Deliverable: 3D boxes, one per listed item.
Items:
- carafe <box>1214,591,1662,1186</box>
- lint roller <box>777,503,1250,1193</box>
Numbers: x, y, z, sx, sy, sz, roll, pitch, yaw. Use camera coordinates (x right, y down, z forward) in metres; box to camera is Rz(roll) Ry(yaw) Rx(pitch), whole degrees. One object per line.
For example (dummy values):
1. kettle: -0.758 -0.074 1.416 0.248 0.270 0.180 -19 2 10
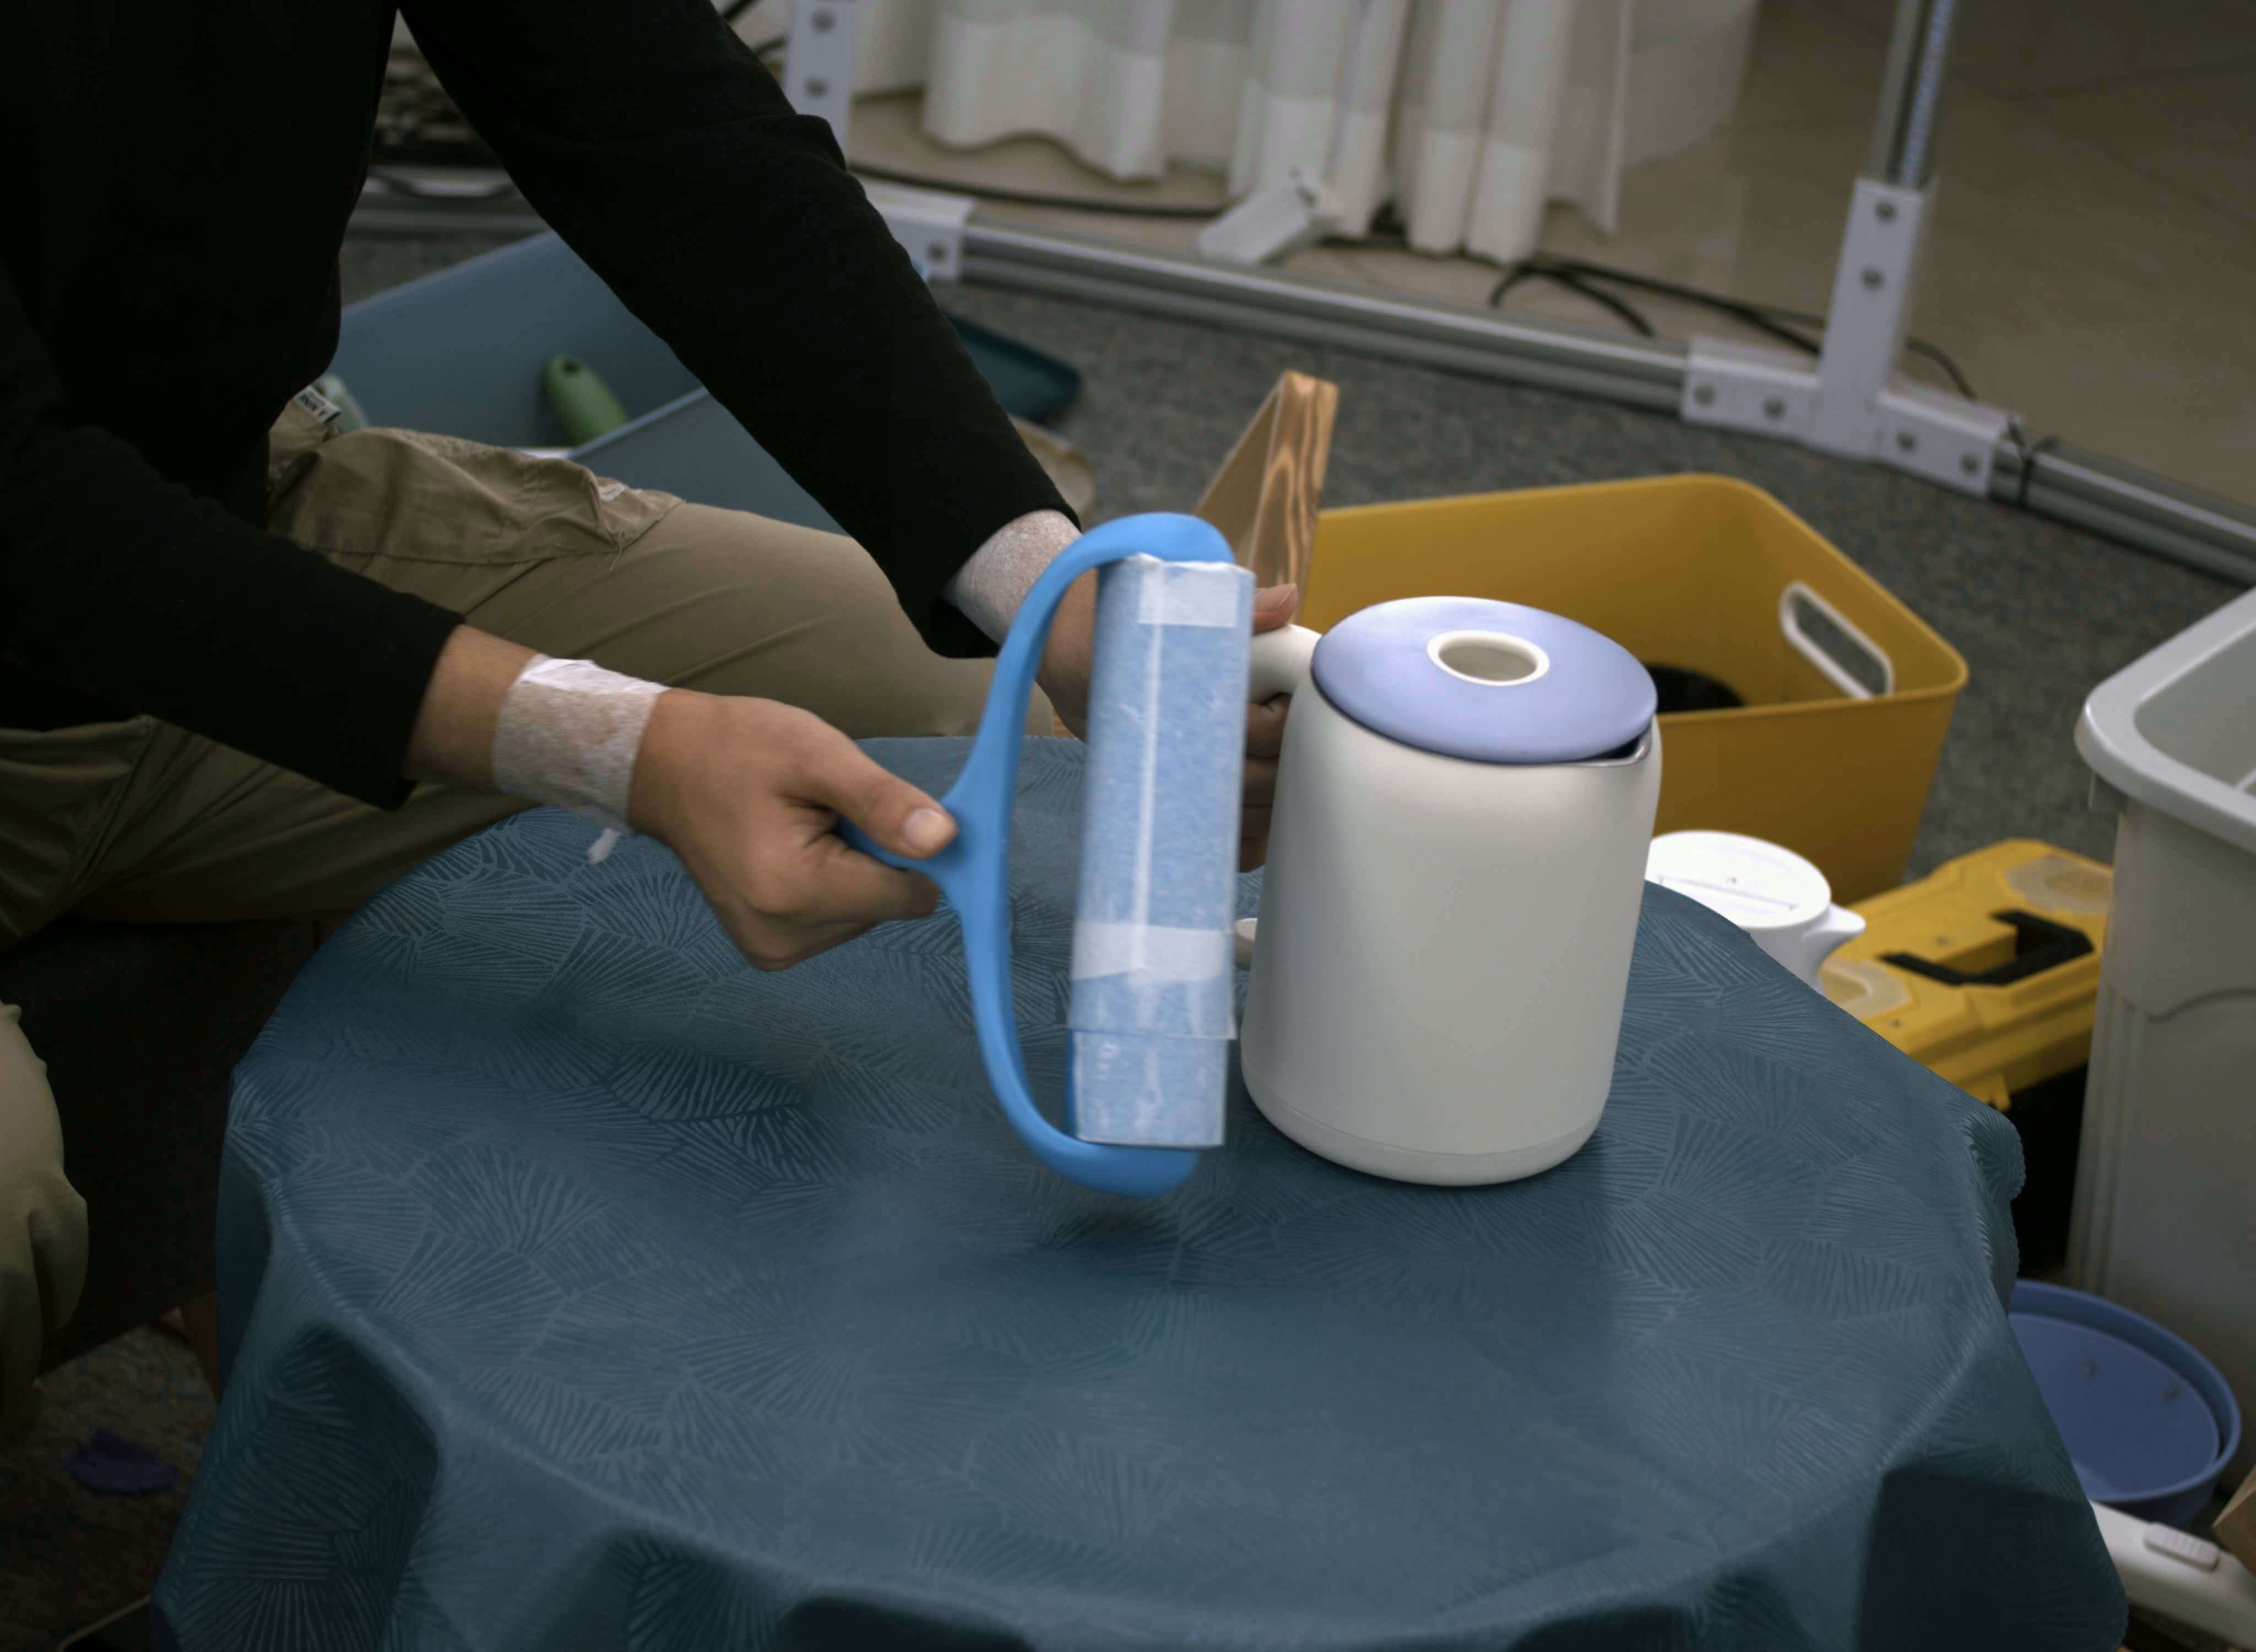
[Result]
1. carafe: 0.093 0.012 1.852 0.192 0.182 0.131 24 31 35
2. lint roller: -0.048 0.007 1.788 0.180 0.229 0.067 0 -2 22
